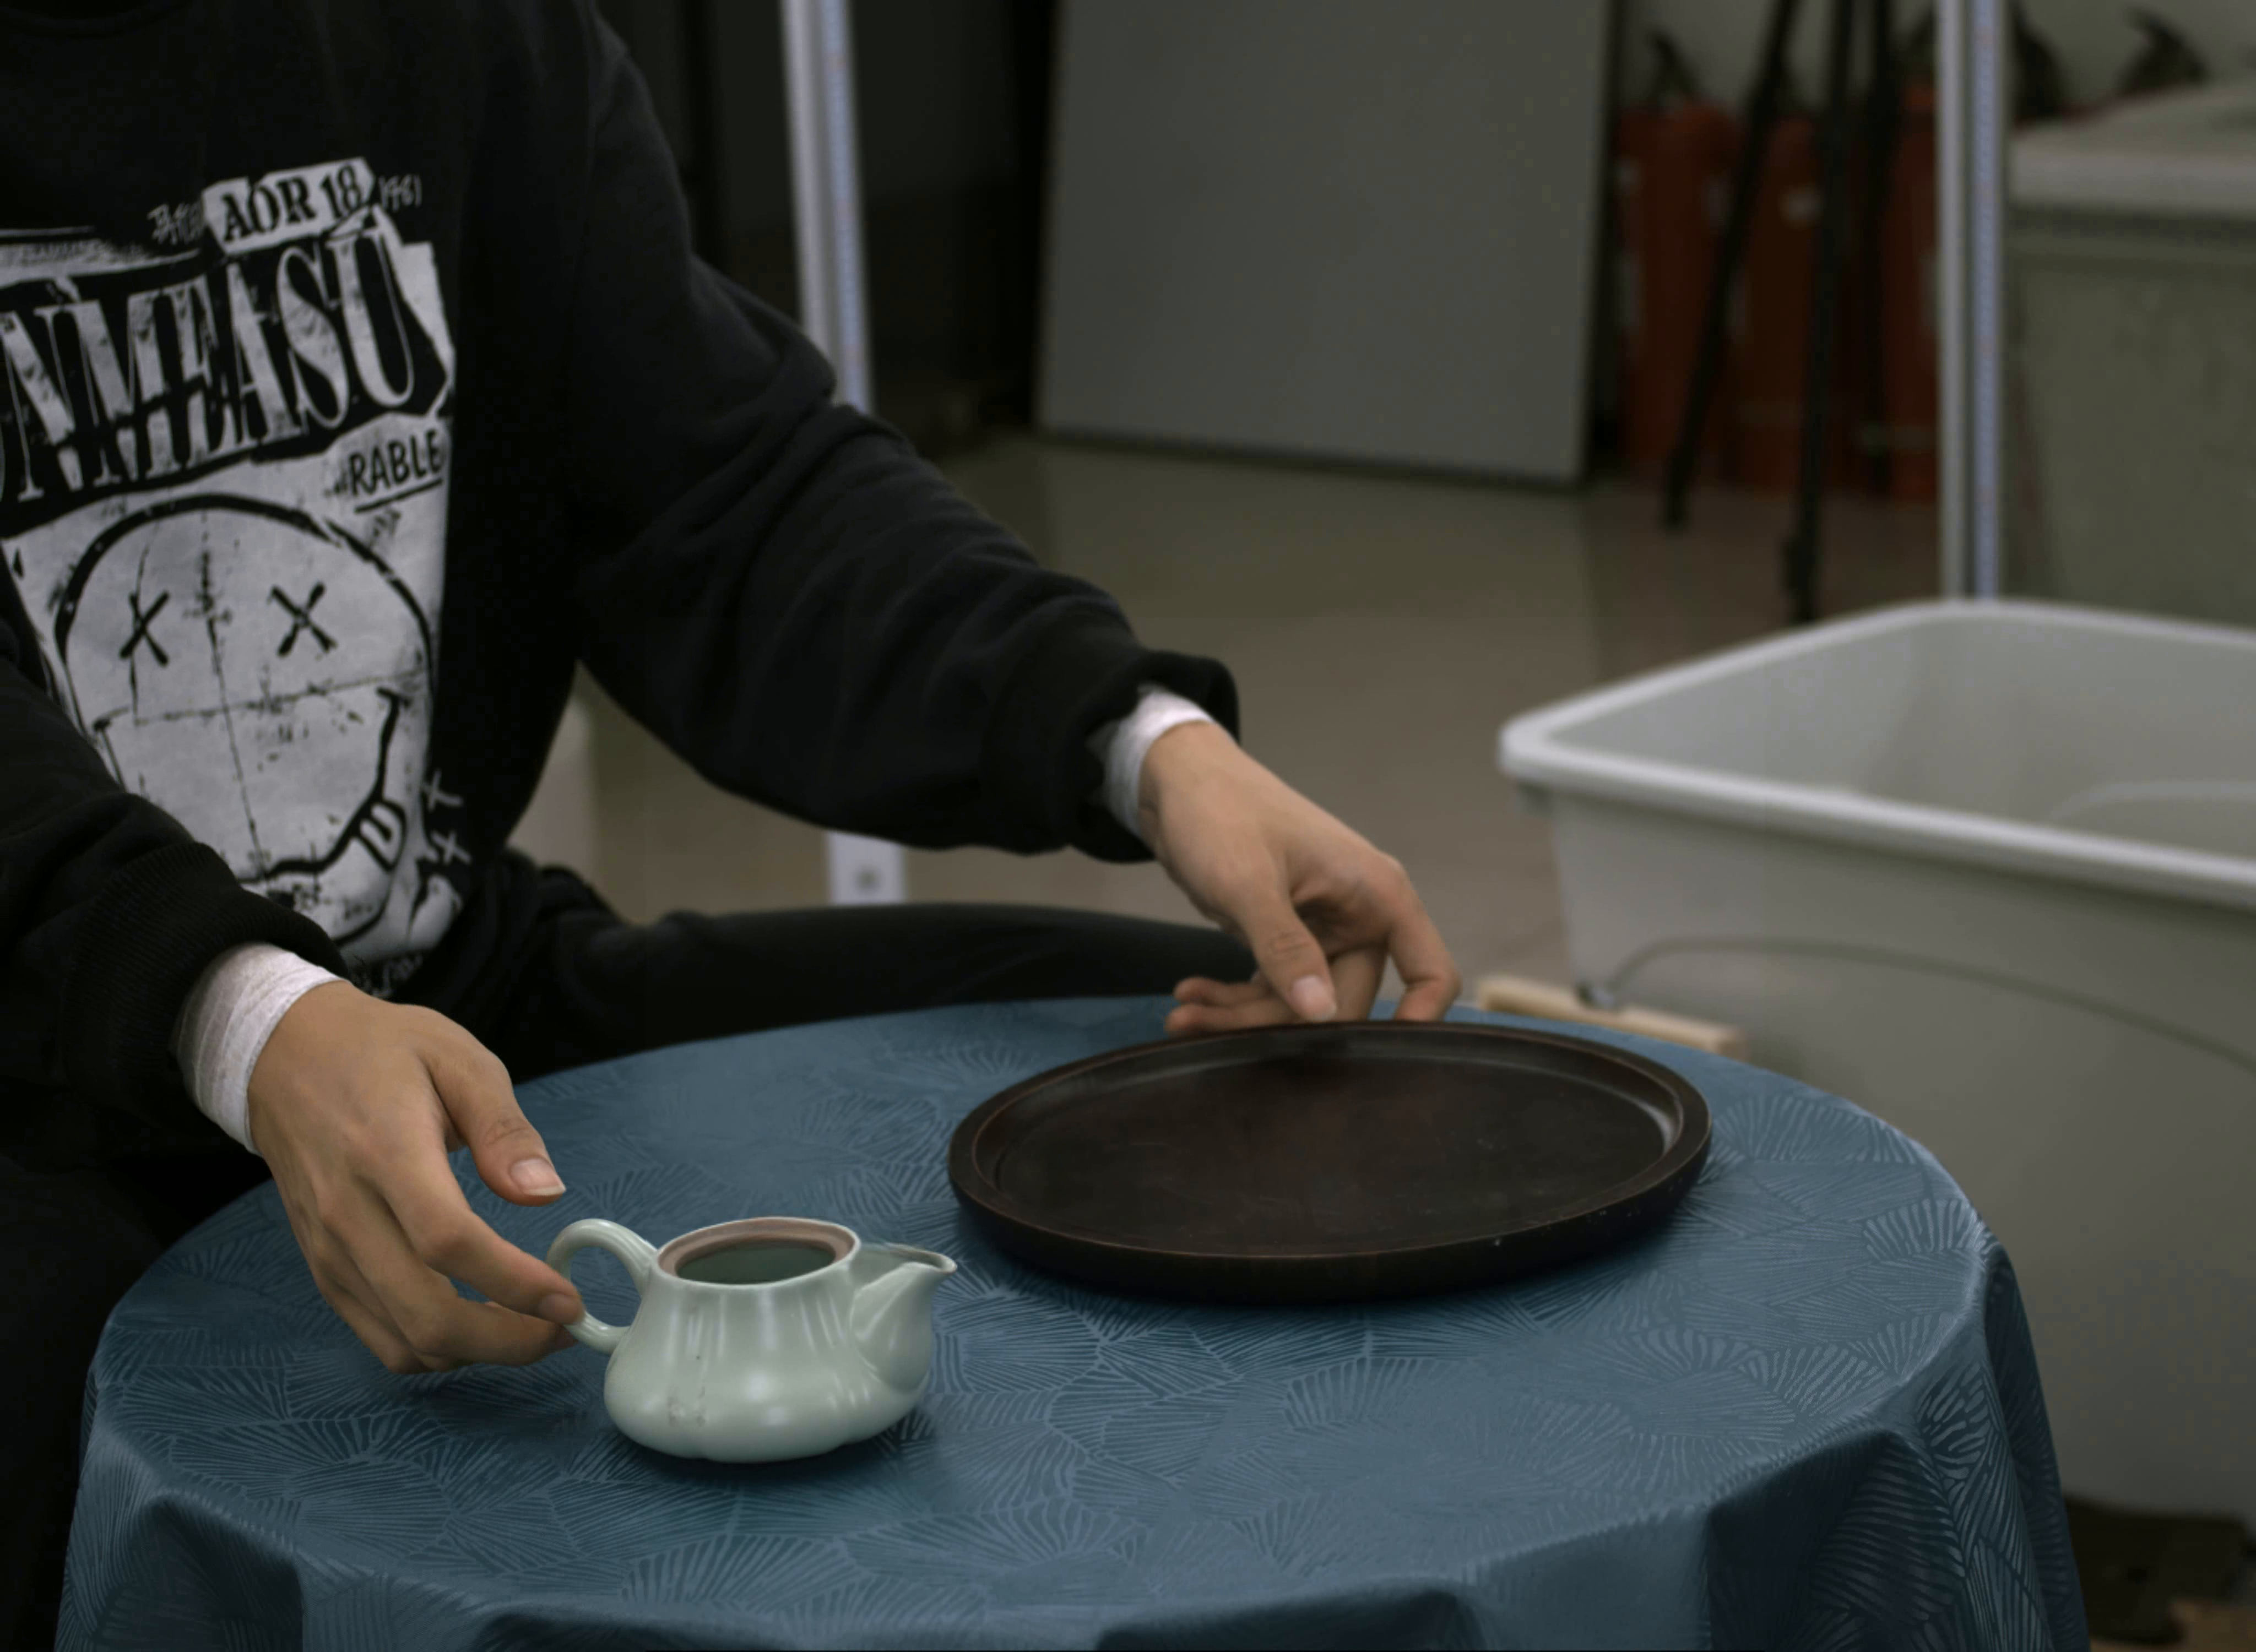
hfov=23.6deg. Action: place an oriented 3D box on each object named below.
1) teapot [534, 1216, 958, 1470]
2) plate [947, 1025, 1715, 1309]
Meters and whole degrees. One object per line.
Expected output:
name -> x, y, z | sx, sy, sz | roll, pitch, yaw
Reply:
teapot -> -0.110, 0.149, 1.571 | 0.137, 0.062, 0.095 | 2, 16, 23
plate -> 0.066, 0.108, 1.756 | 0.251, 0.029, 0.255 | -4, 15, 0
